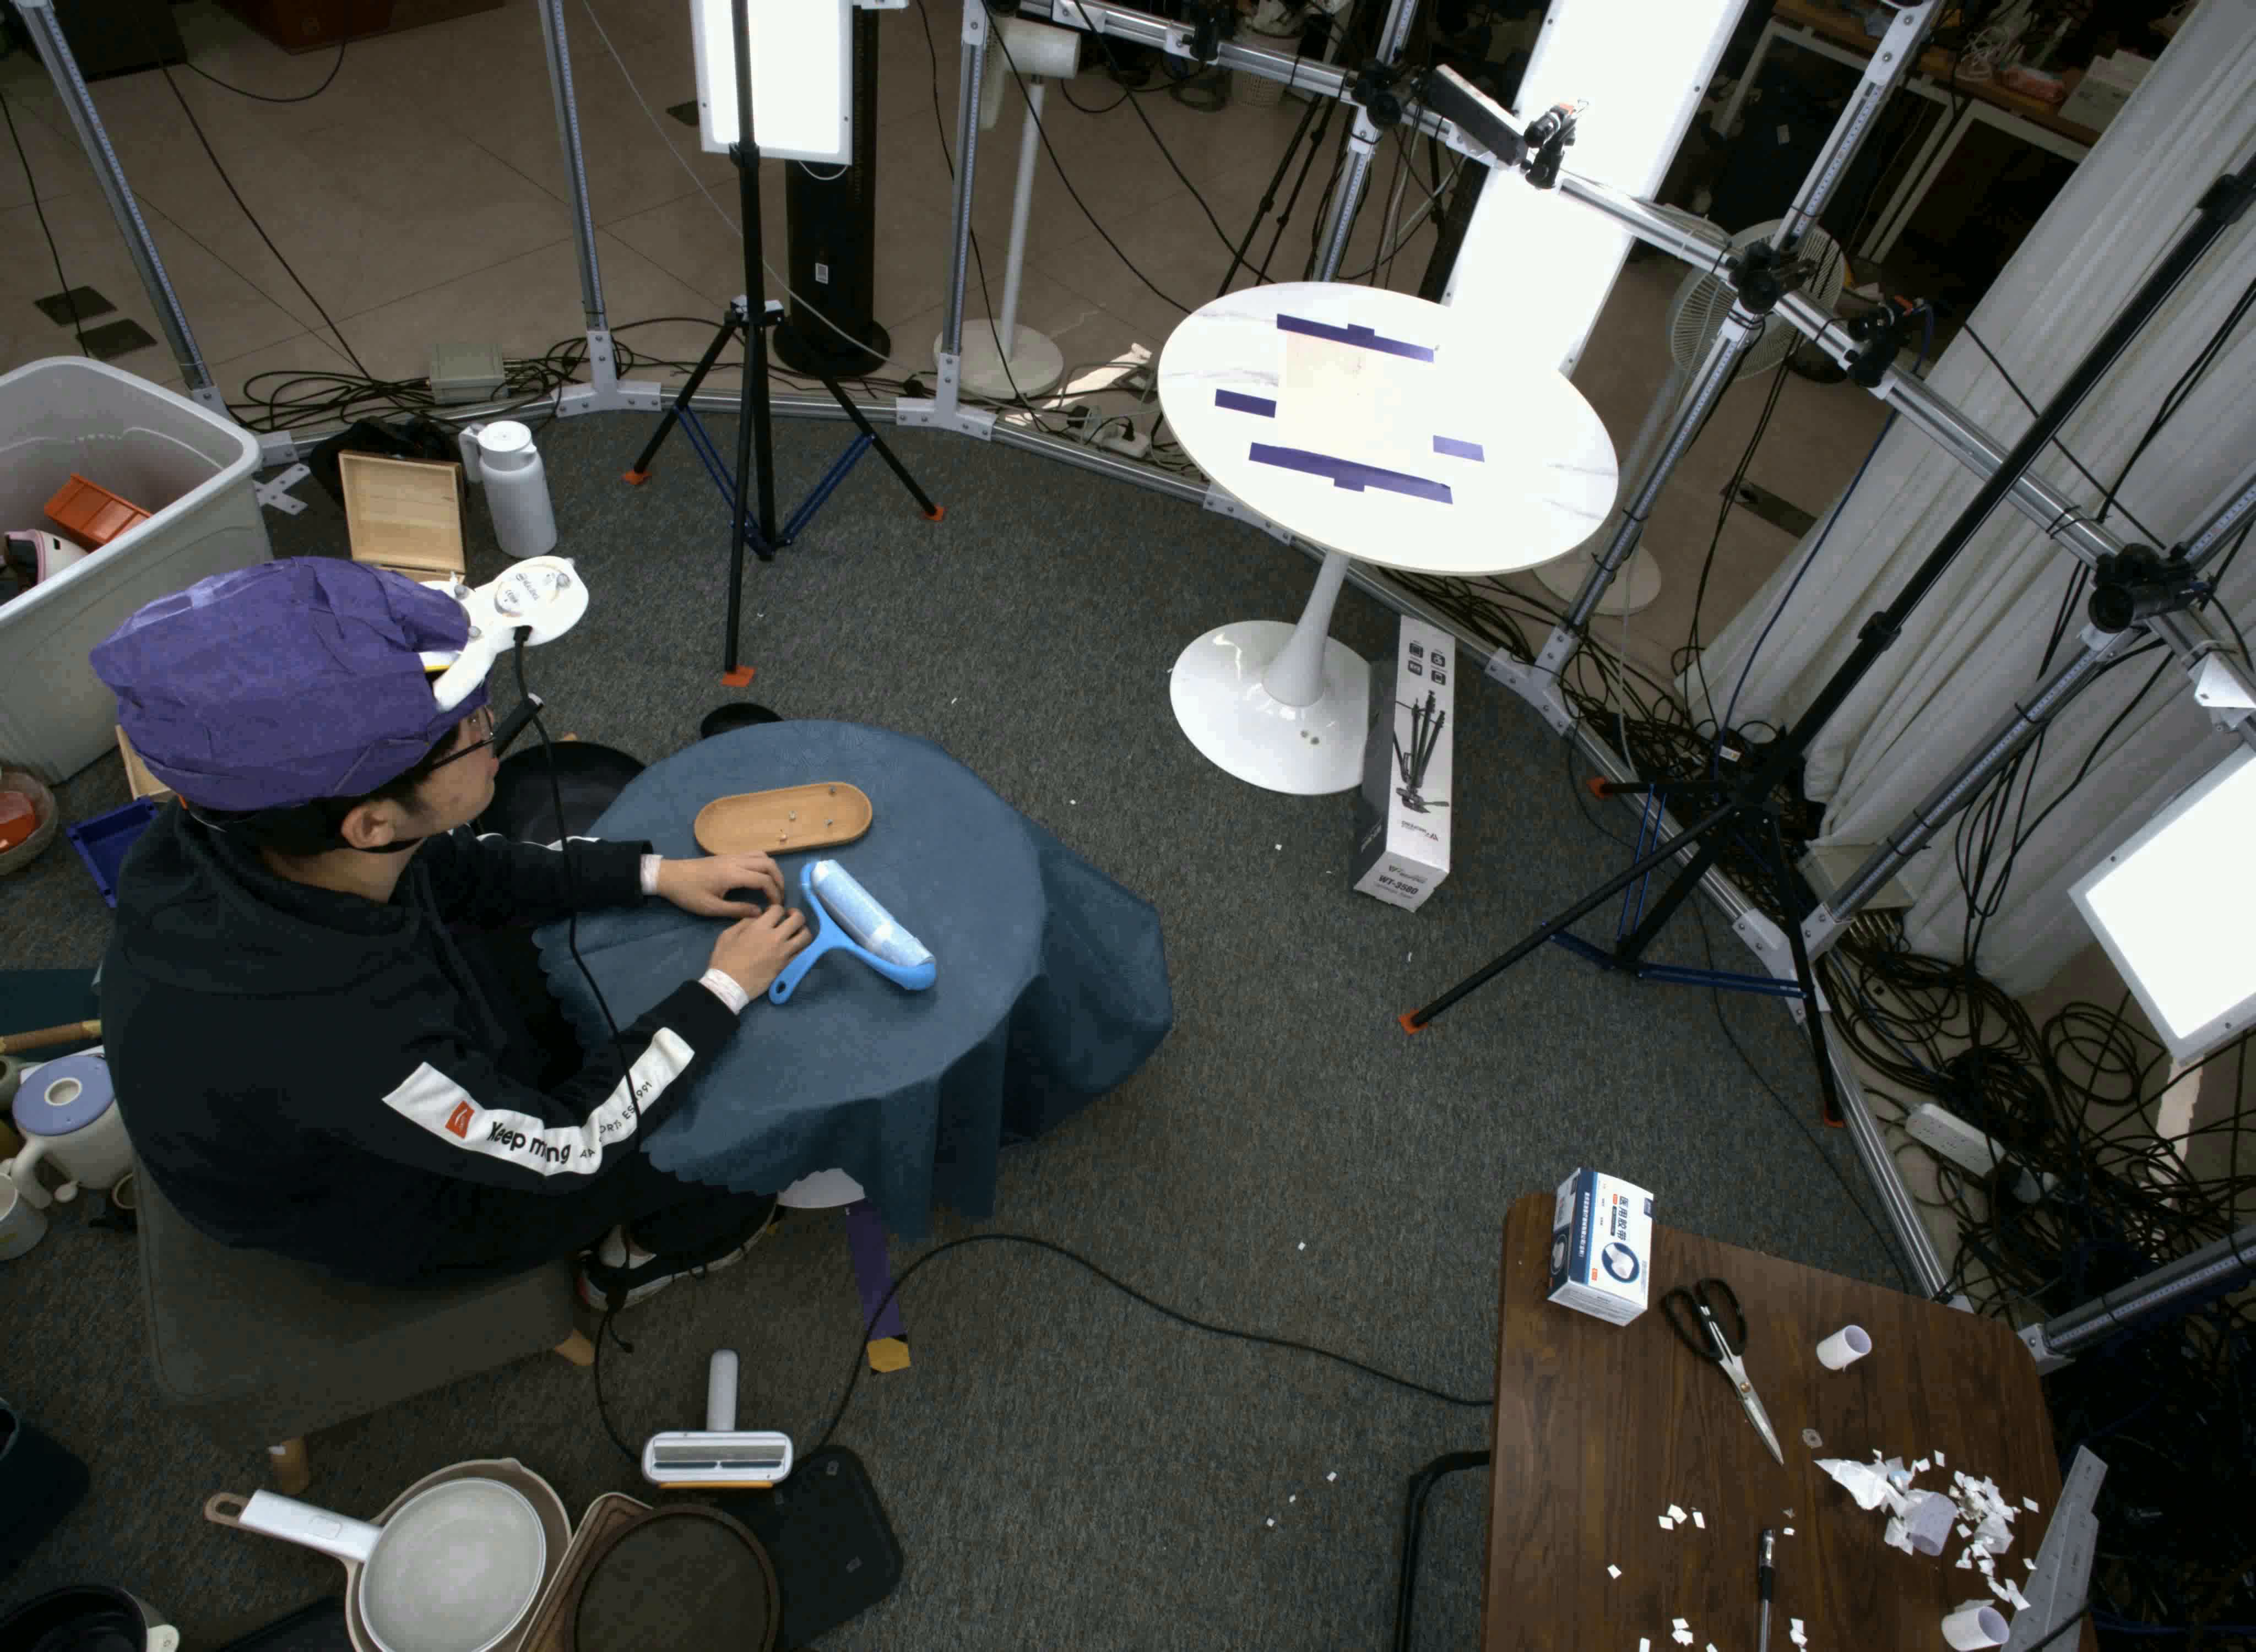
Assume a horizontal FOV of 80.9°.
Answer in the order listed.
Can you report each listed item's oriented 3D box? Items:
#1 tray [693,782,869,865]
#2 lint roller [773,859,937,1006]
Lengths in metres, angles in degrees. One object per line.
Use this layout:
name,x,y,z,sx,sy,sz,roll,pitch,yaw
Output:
tray,-0.458,-0.005,1.714,0.232,0.021,0.099,-11,57,-20
lint roller,-0.362,0.150,1.599,0.224,0.069,0.180,40,54,14
